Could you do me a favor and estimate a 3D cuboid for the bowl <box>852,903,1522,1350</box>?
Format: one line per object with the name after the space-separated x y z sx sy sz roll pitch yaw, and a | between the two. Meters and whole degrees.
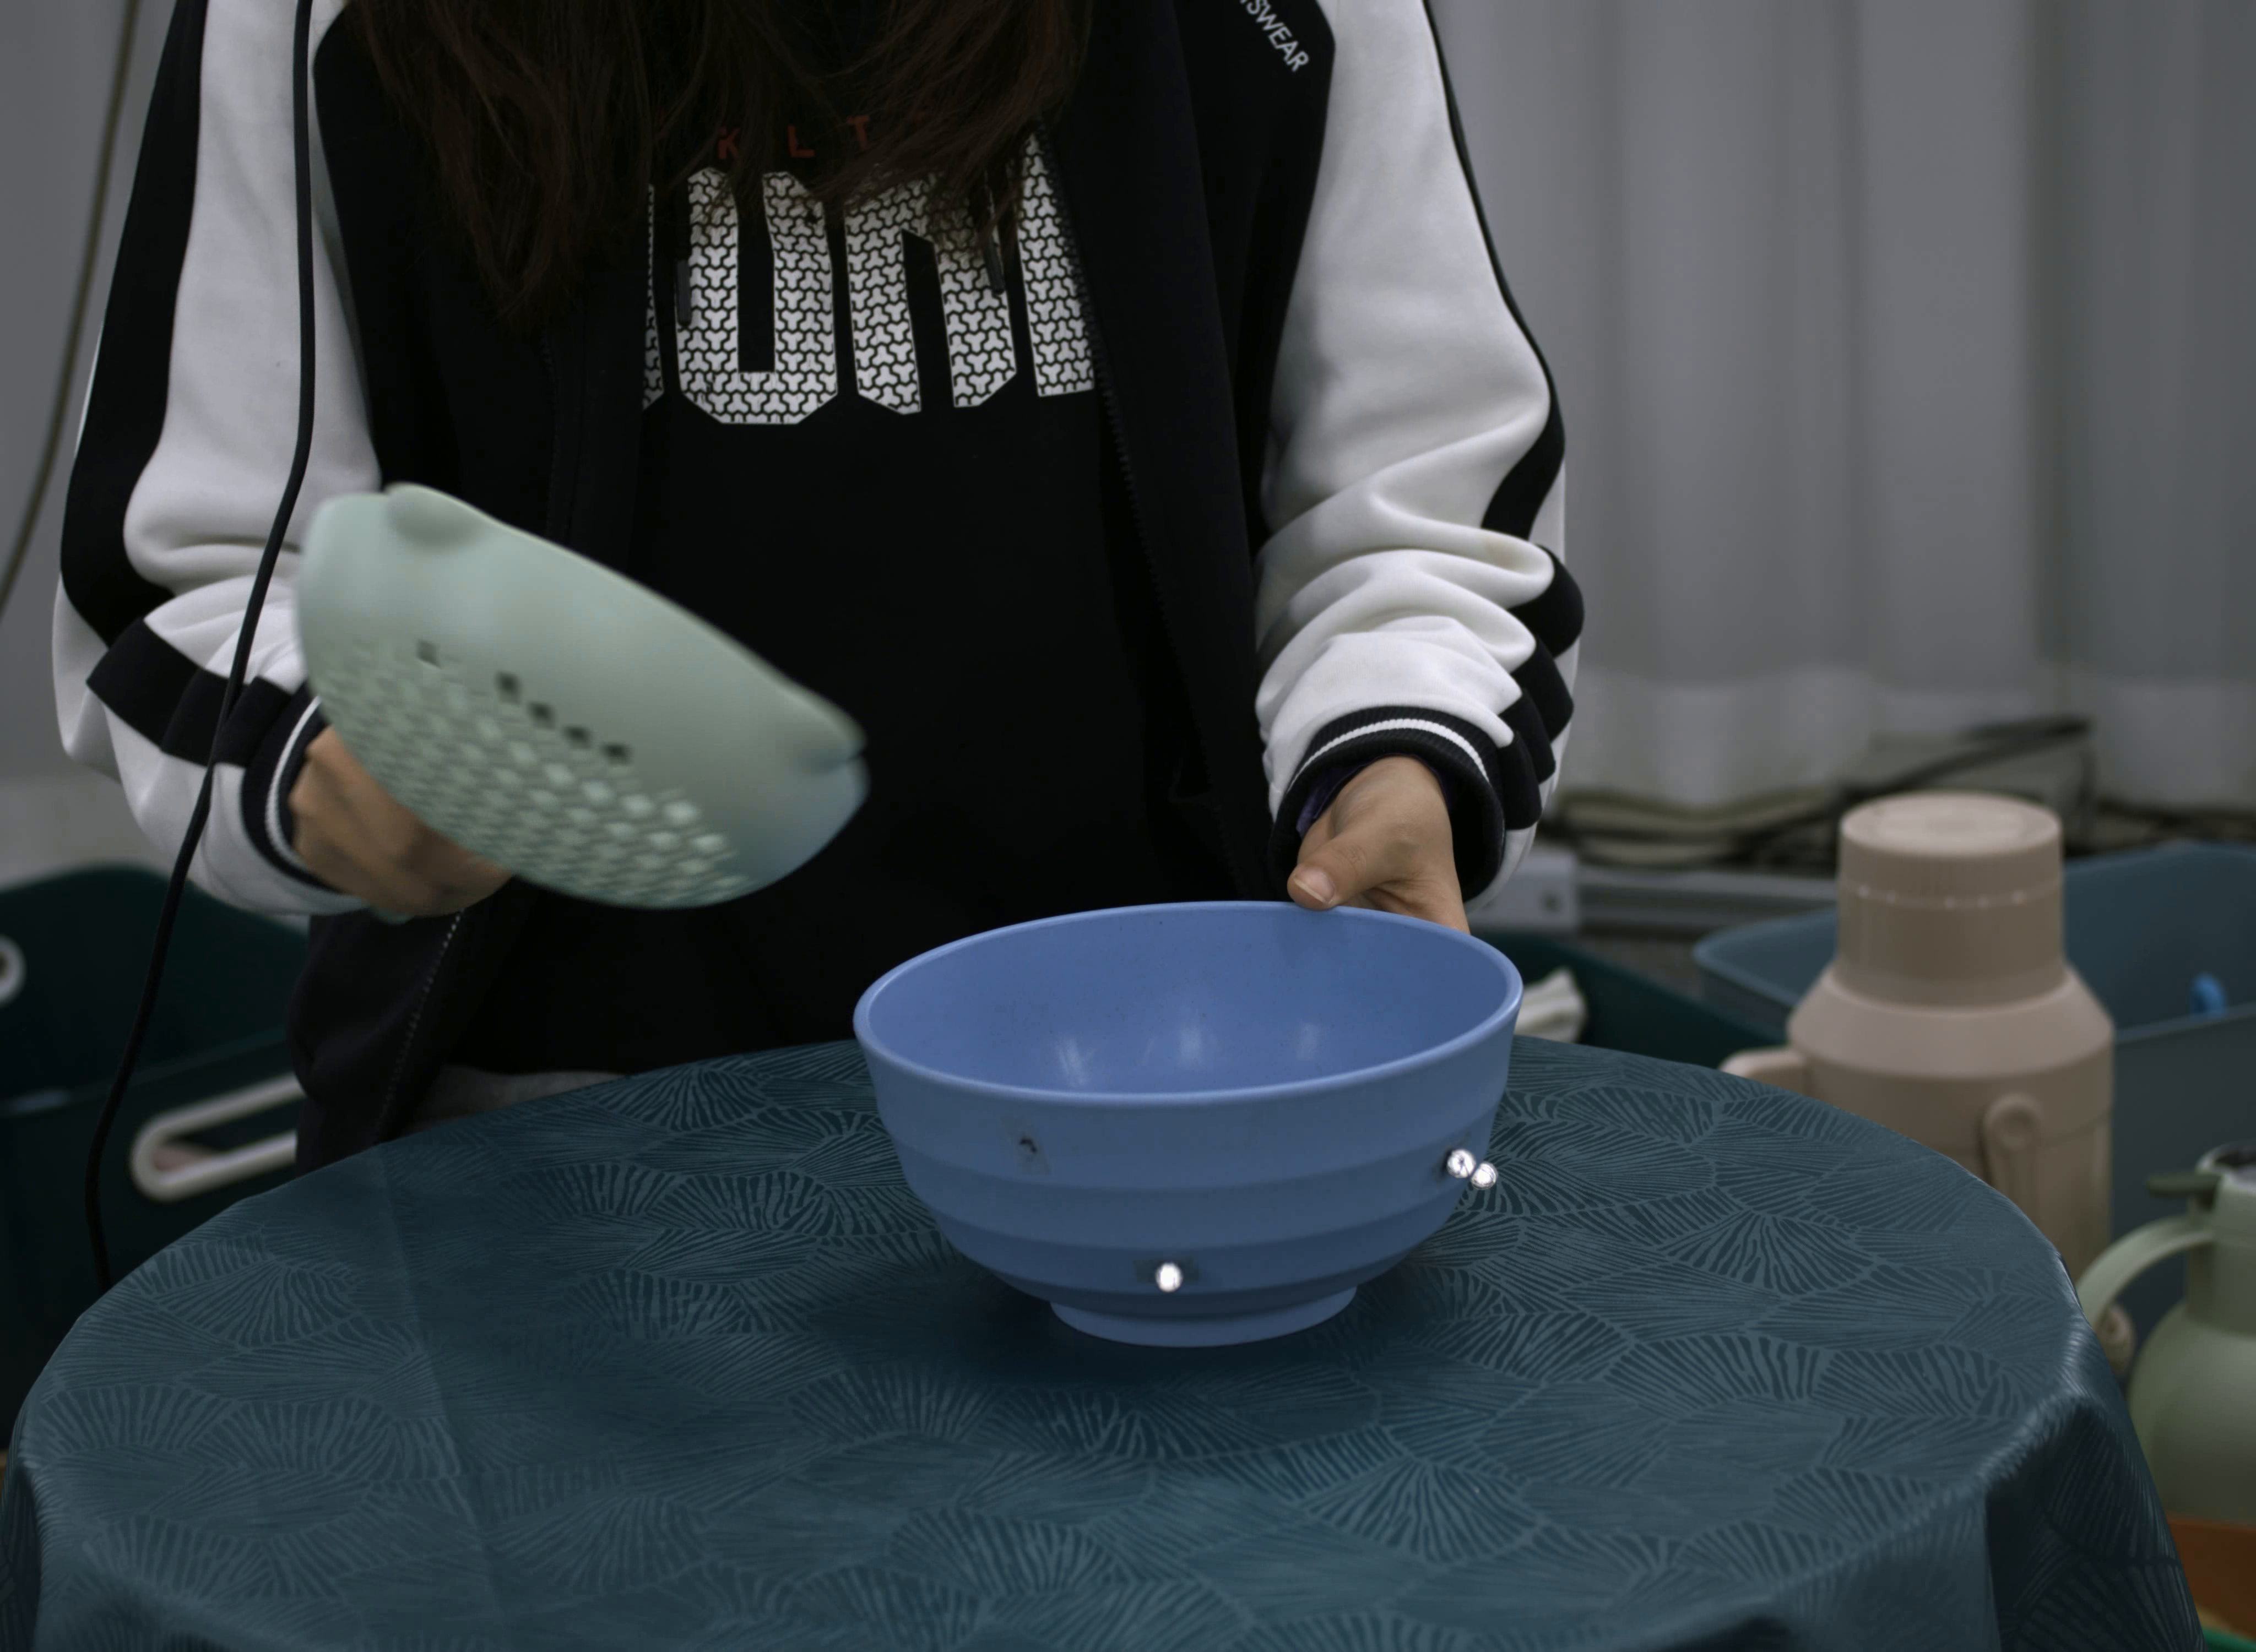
0.020 0.094 1.607 0.196 0.095 0.198 -3 14 1 | bowl

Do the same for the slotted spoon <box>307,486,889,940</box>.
-0.178 -0.014 1.587 0.168 0.076 0.358 28 -11 -10 | slotted spoon
